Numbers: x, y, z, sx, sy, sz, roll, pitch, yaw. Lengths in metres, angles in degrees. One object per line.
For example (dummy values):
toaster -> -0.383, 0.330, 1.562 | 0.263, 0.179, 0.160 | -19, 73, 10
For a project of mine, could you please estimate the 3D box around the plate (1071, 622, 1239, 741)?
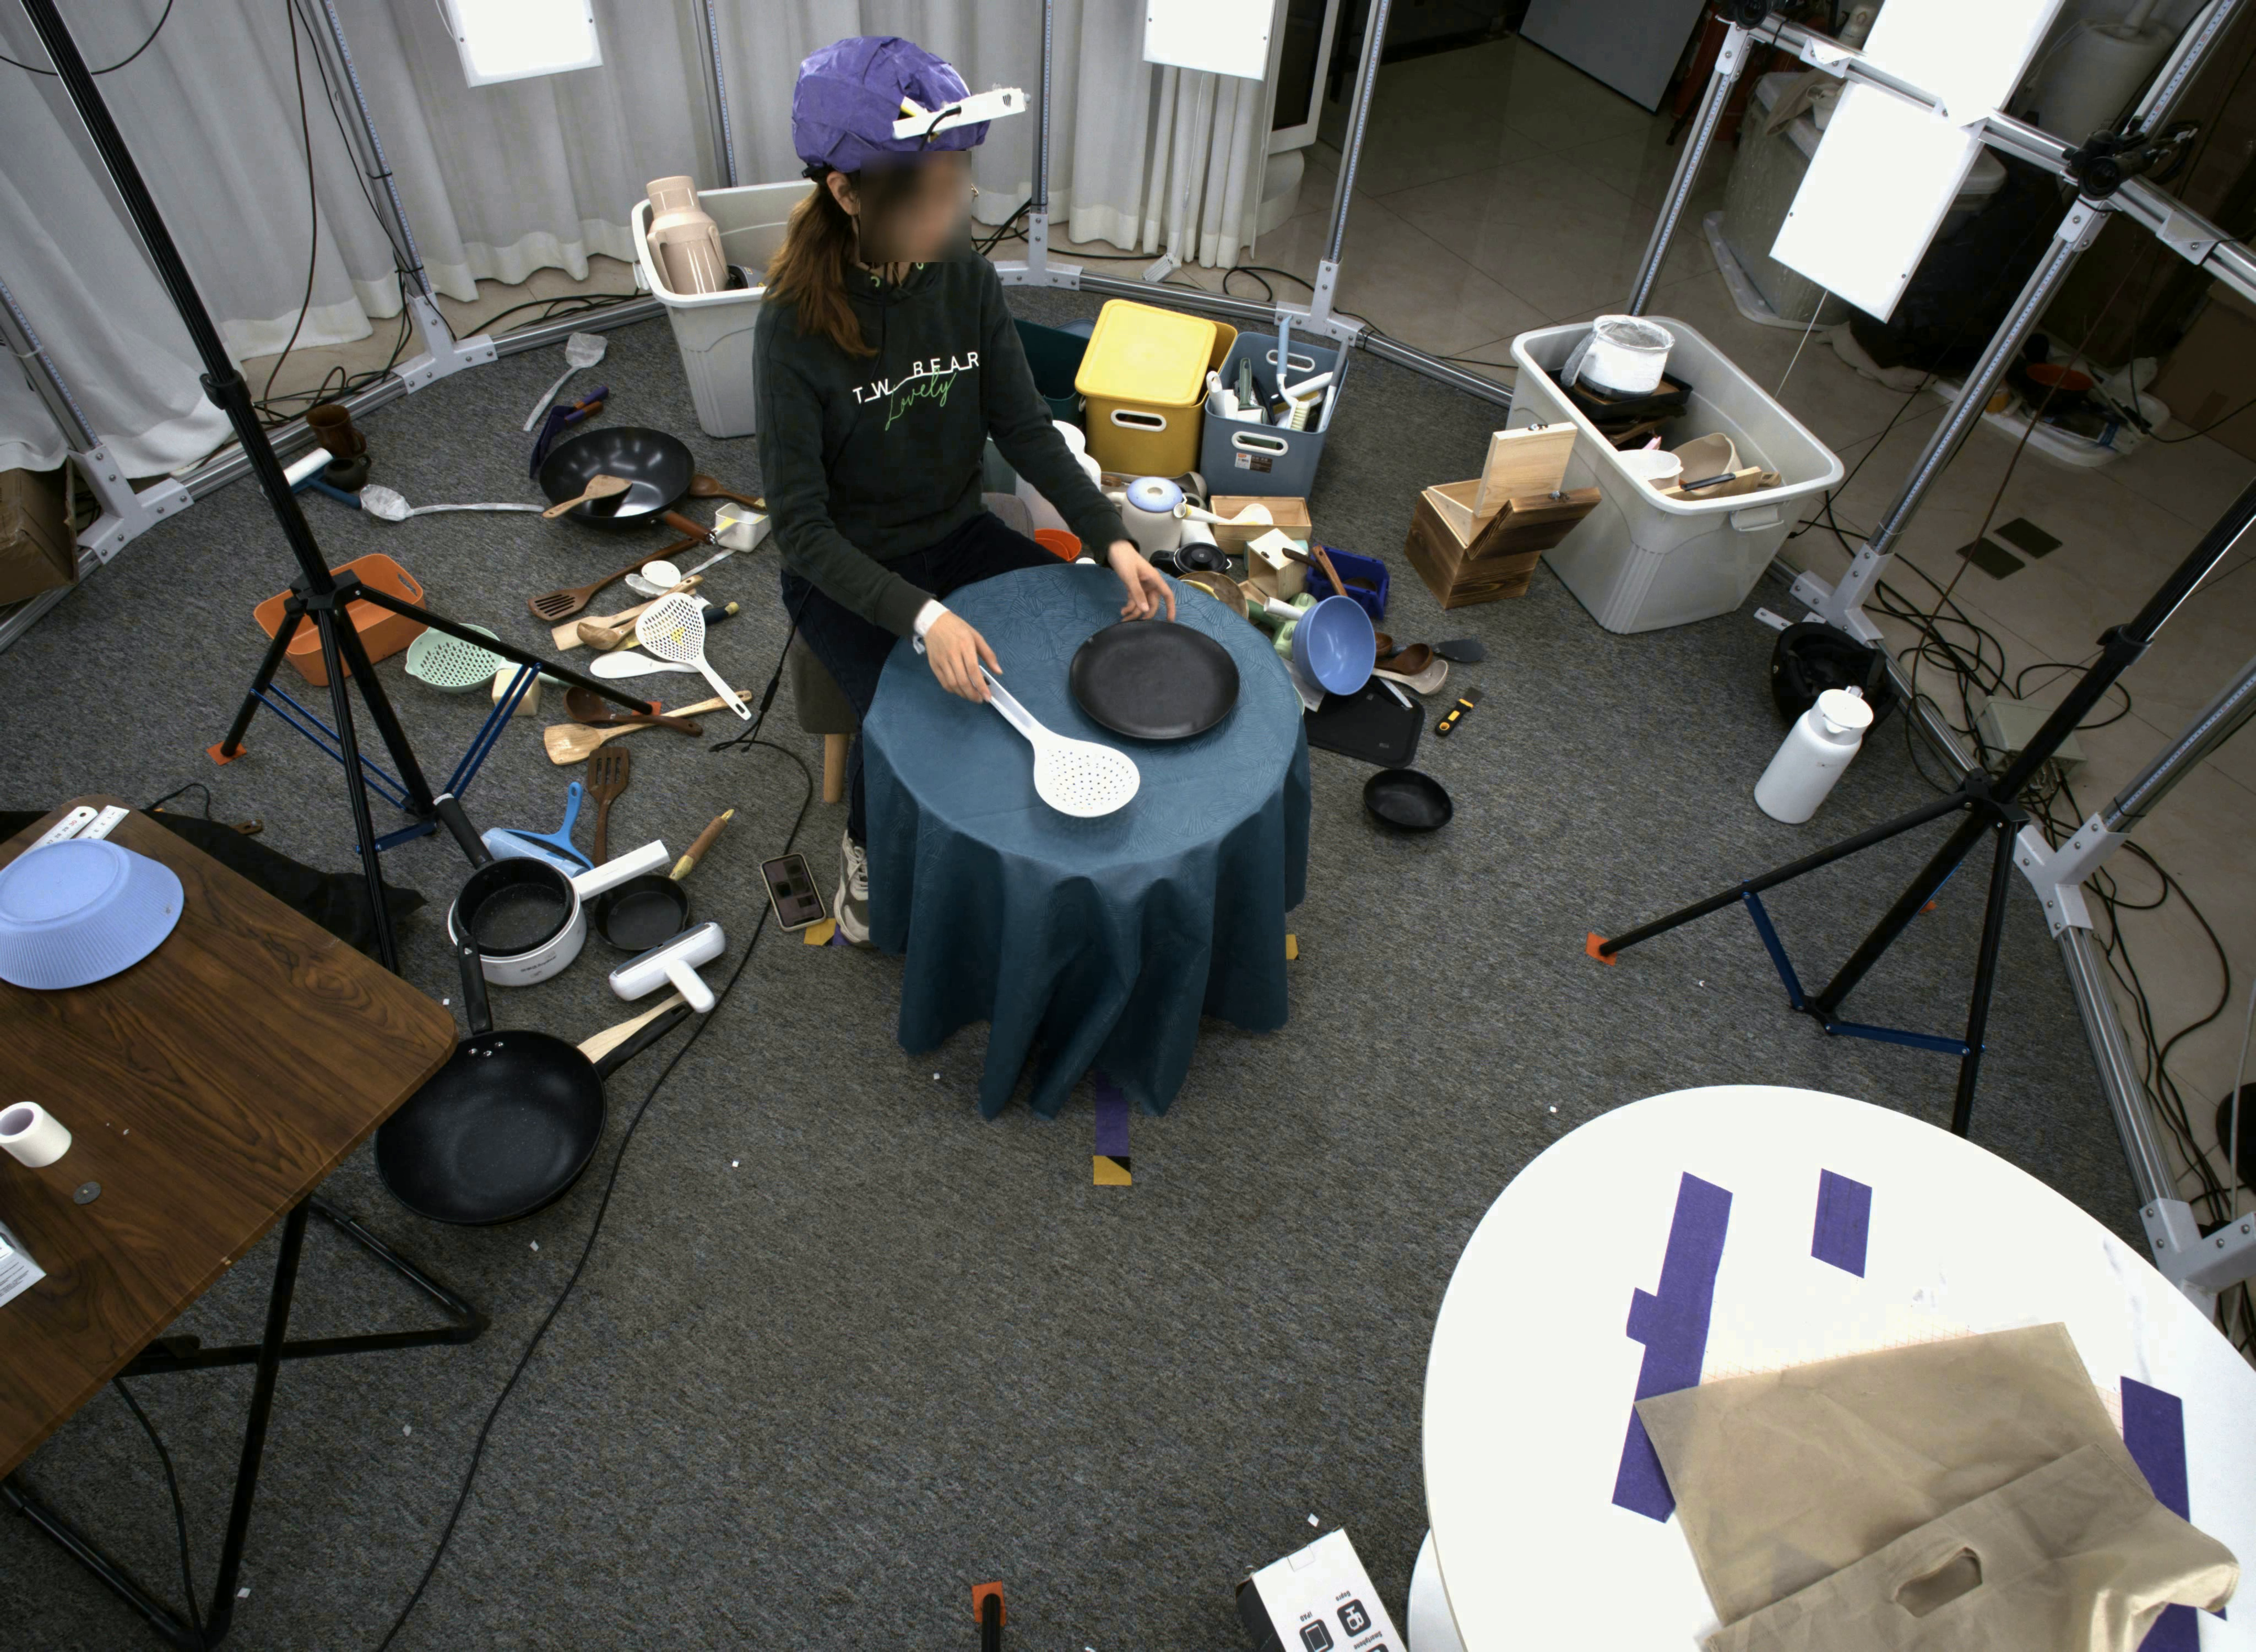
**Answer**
plate -> 0.039, -0.207, 1.852 | 0.244, 0.023, 0.250 | 2, 49, -2

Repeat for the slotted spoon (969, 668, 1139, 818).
slotted spoon -> -0.117, -0.119, 1.750 | 0.136, 0.044, 0.356 | -25, 54, -26
